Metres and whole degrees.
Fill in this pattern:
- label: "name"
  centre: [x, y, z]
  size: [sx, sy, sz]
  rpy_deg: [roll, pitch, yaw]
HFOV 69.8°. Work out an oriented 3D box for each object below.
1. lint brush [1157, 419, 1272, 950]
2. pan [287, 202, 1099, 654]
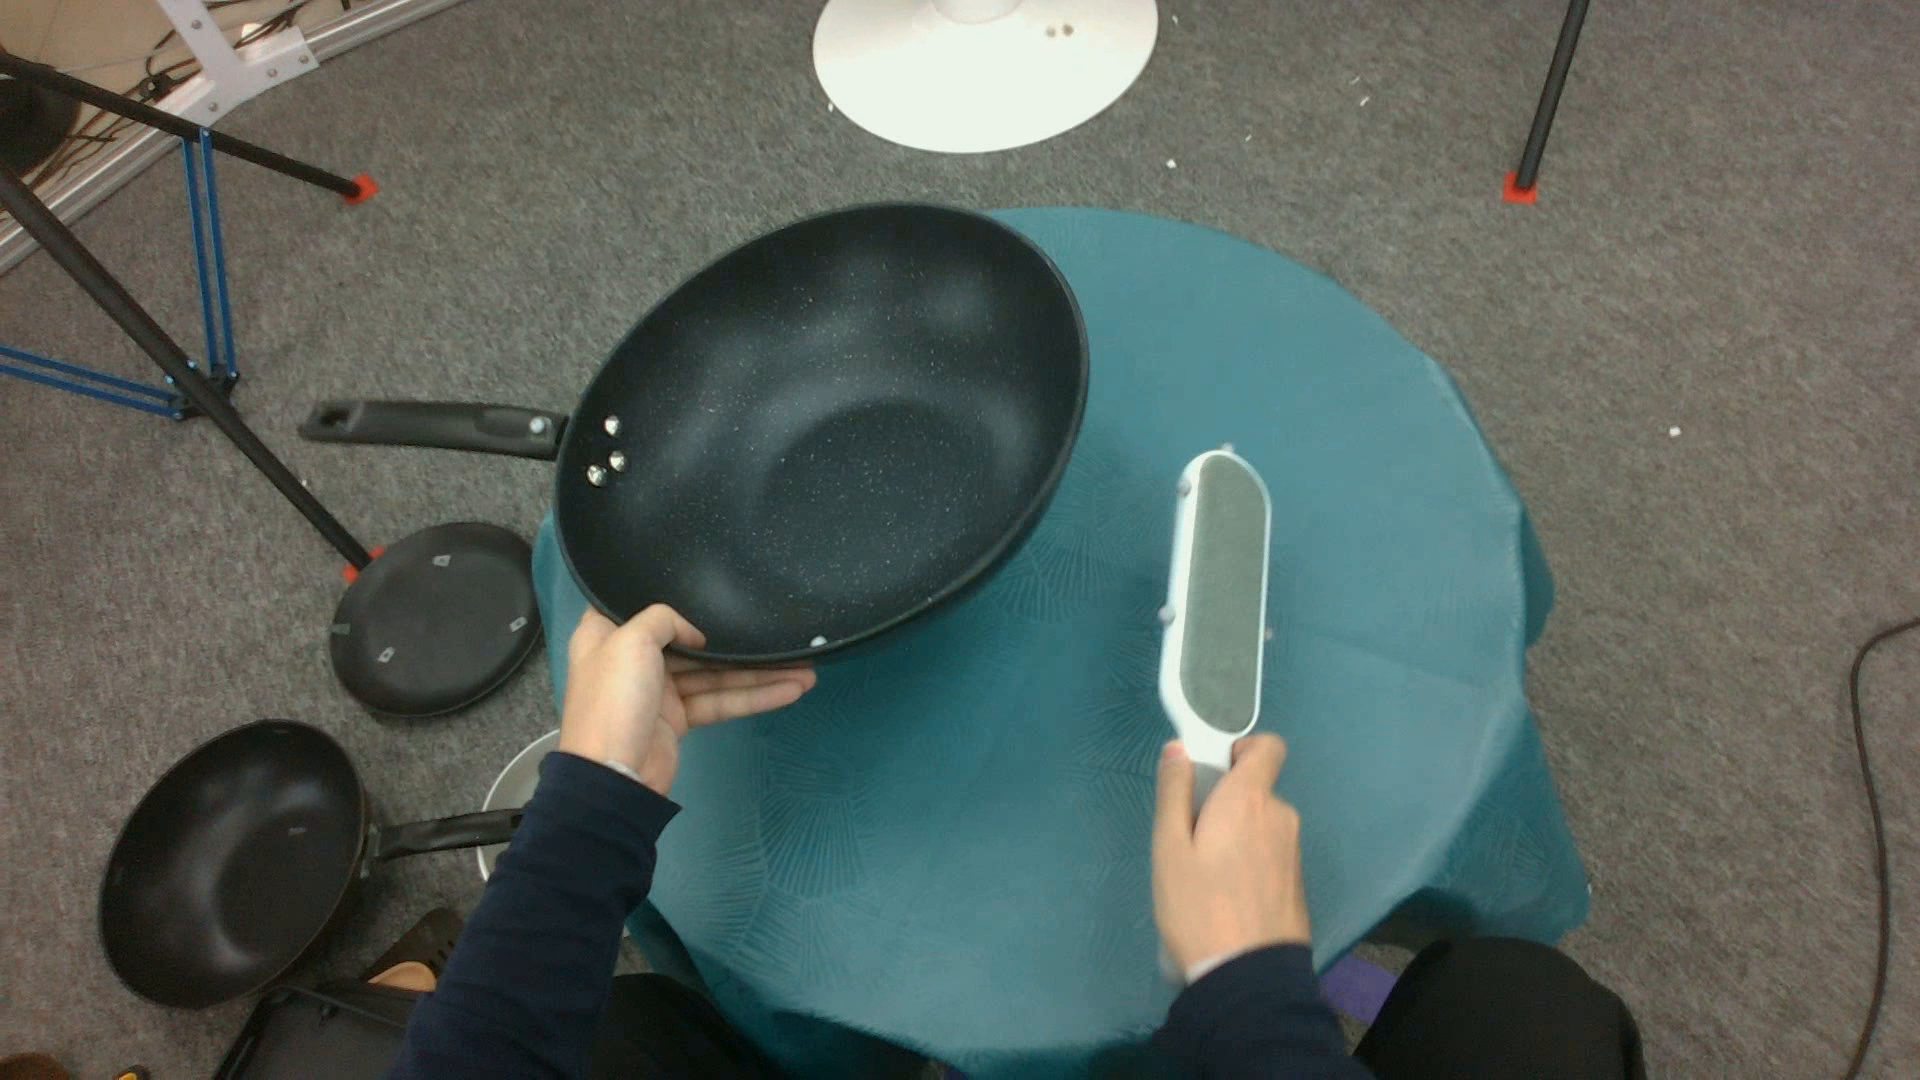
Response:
- label: "lint brush"
  centre: [0.130, 0.060, 0.718]
  size: [0.060, 0.021, 0.310]
  rpy_deg: [27, 54, -21]
- label: "pan"
  centre: [-0.154, -0.062, 0.793]
  size: [0.476, 0.111, 0.311]
  rpy_deg: [0, 55, 14]
